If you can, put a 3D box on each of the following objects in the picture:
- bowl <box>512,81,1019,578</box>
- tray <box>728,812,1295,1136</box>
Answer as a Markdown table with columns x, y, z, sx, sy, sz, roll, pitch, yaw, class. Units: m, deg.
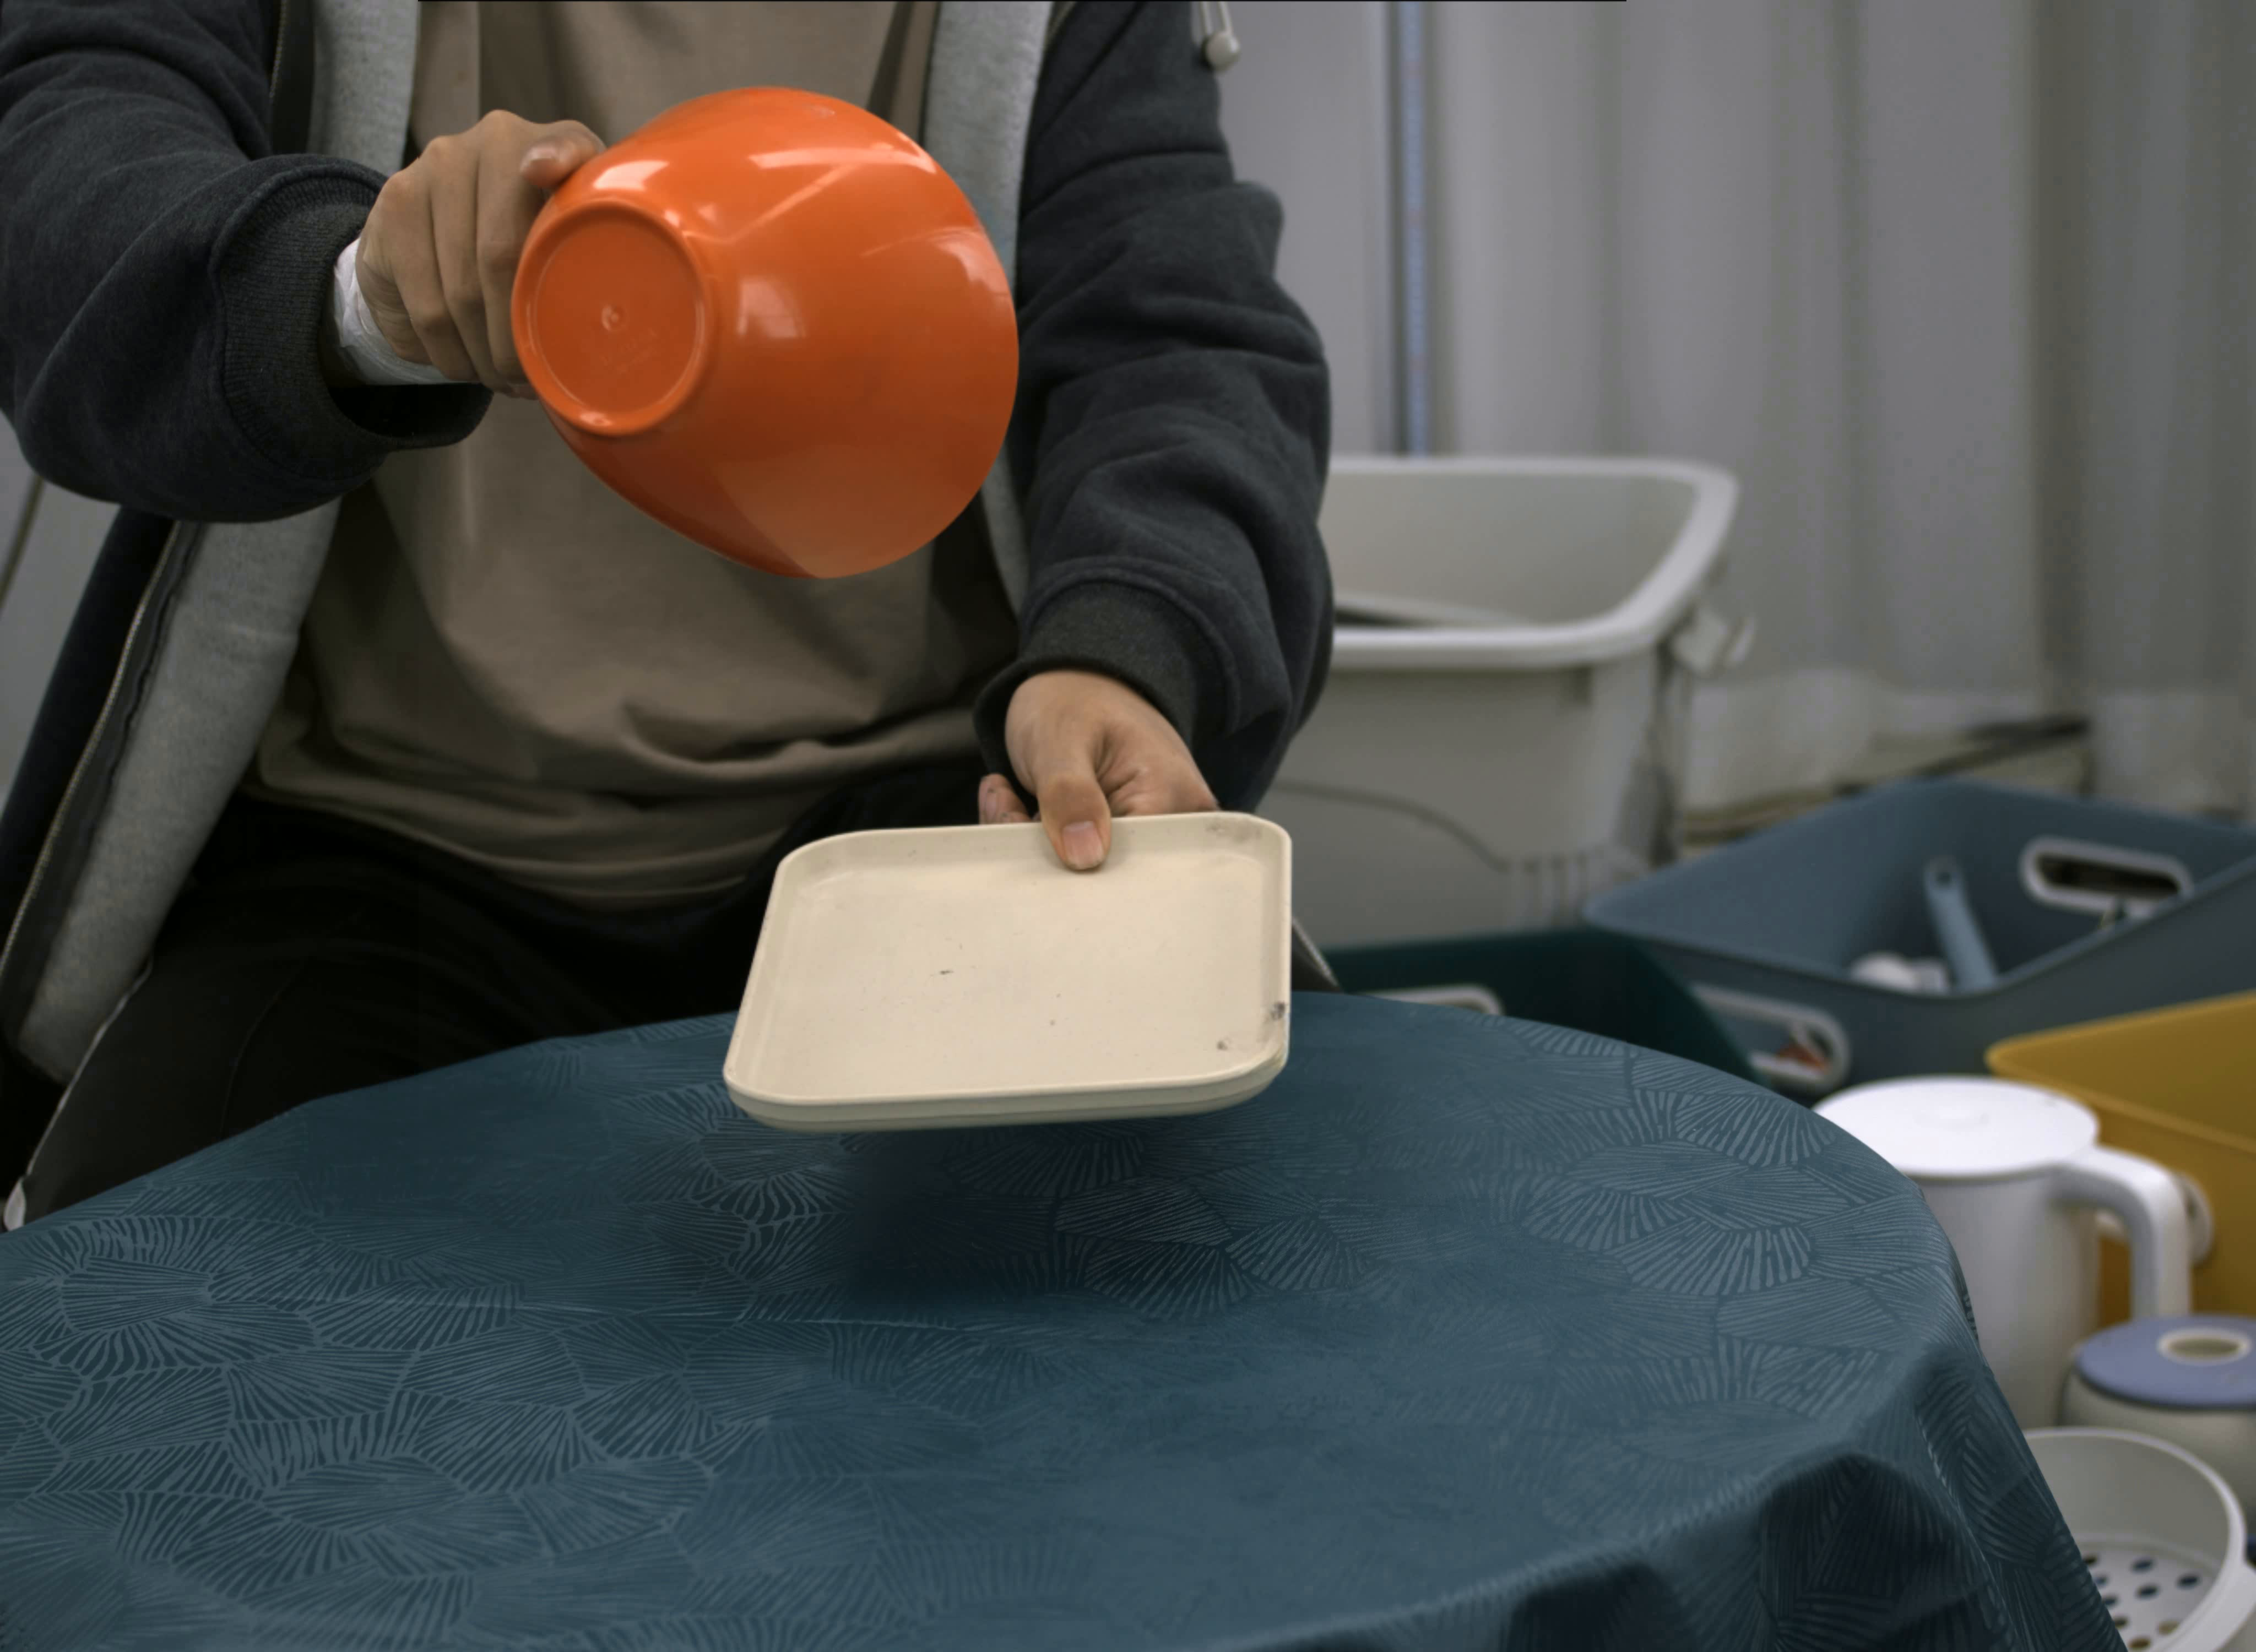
| x | y | z | sx | sy | sz | roll | pitch | yaw | class |
| --- | --- | --- | --- | --- | --- | --- | --- | --- | --- |
| -0.118 | -0.142 | 1.588 | 0.148 | 0.148 | 0.104 | 5 | 8 | 26 | bowl |
| -0.033 | 0.045 | 1.709 | 0.171 | 0.017 | 0.241 | -4 | 19 | 3 | tray |
